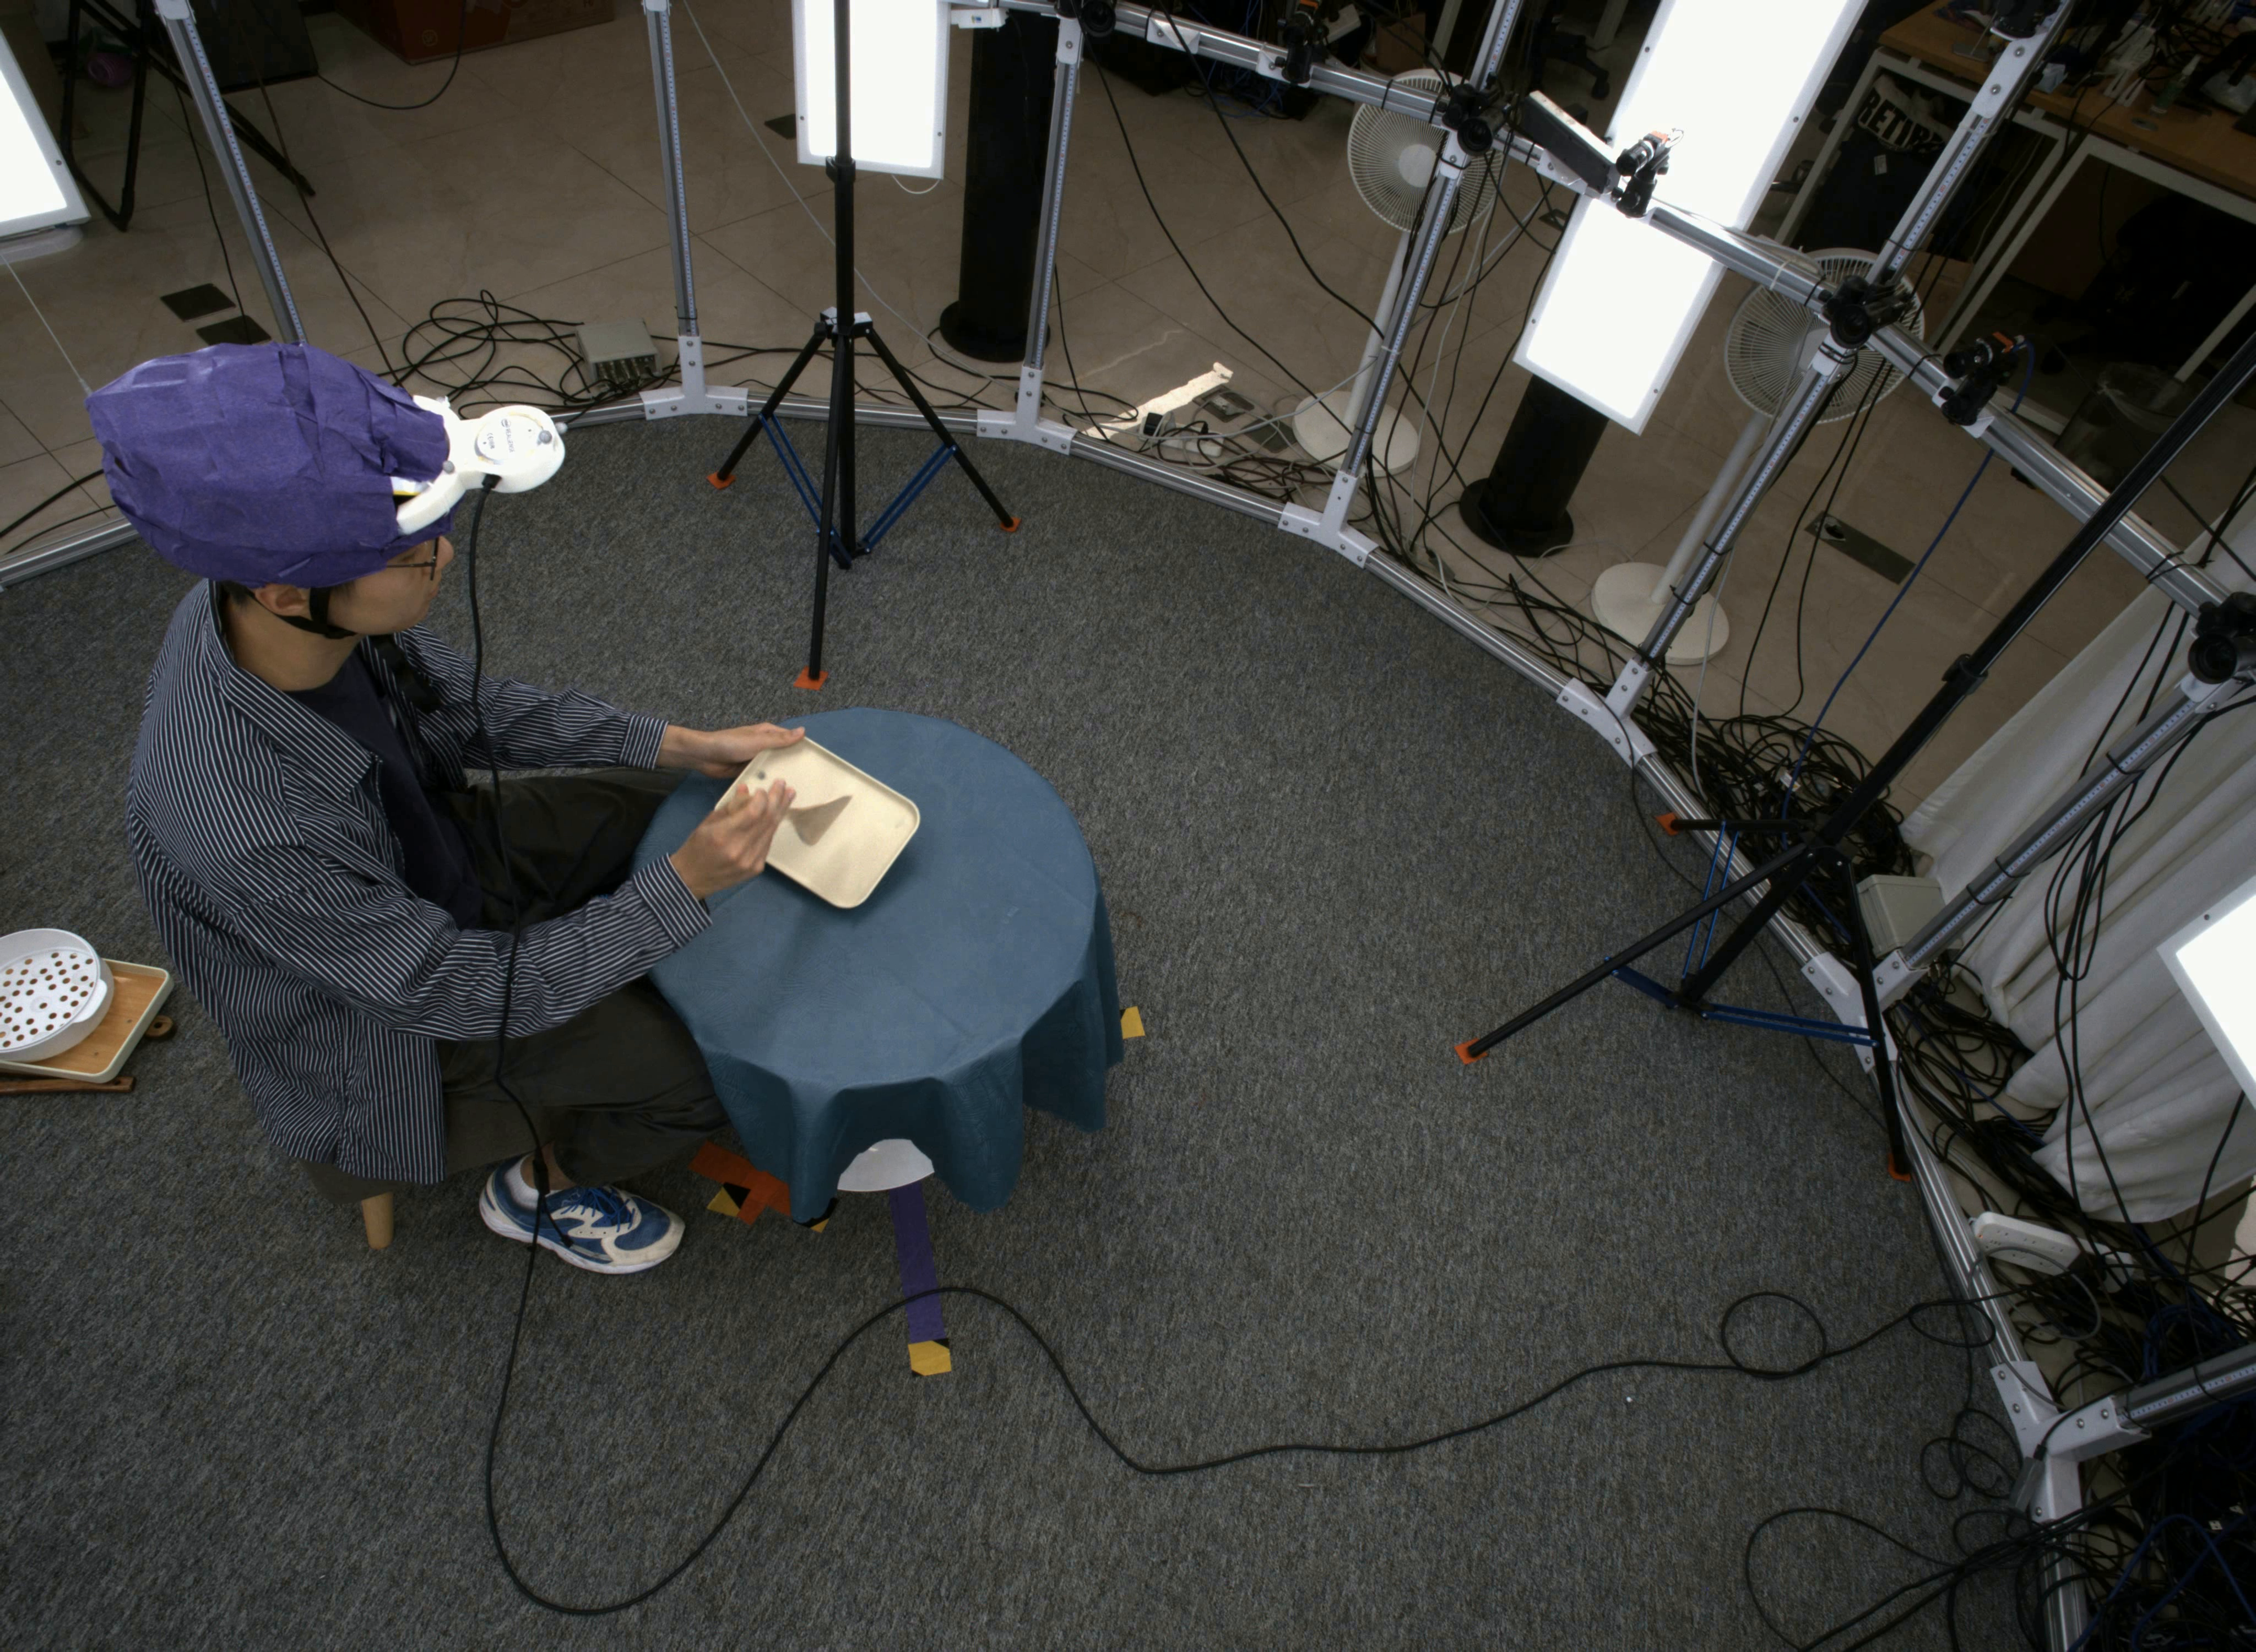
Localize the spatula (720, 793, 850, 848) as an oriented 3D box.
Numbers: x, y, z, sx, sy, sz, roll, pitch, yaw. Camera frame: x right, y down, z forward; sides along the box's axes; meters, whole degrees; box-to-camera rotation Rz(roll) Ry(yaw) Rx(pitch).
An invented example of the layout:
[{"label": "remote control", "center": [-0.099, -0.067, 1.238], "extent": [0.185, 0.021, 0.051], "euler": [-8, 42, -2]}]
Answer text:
[{"label": "spatula", "center": [-0.395, -0.014, 1.490], "extent": [0.016, 0.330, 0.080], "euler": [38, 92, 9]}]

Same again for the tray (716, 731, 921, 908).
[{"label": "tray", "center": [-0.404, -0.010, 1.697], "extent": [0.237, 0.018, 0.171], "euler": [31, 70, 5]}]
